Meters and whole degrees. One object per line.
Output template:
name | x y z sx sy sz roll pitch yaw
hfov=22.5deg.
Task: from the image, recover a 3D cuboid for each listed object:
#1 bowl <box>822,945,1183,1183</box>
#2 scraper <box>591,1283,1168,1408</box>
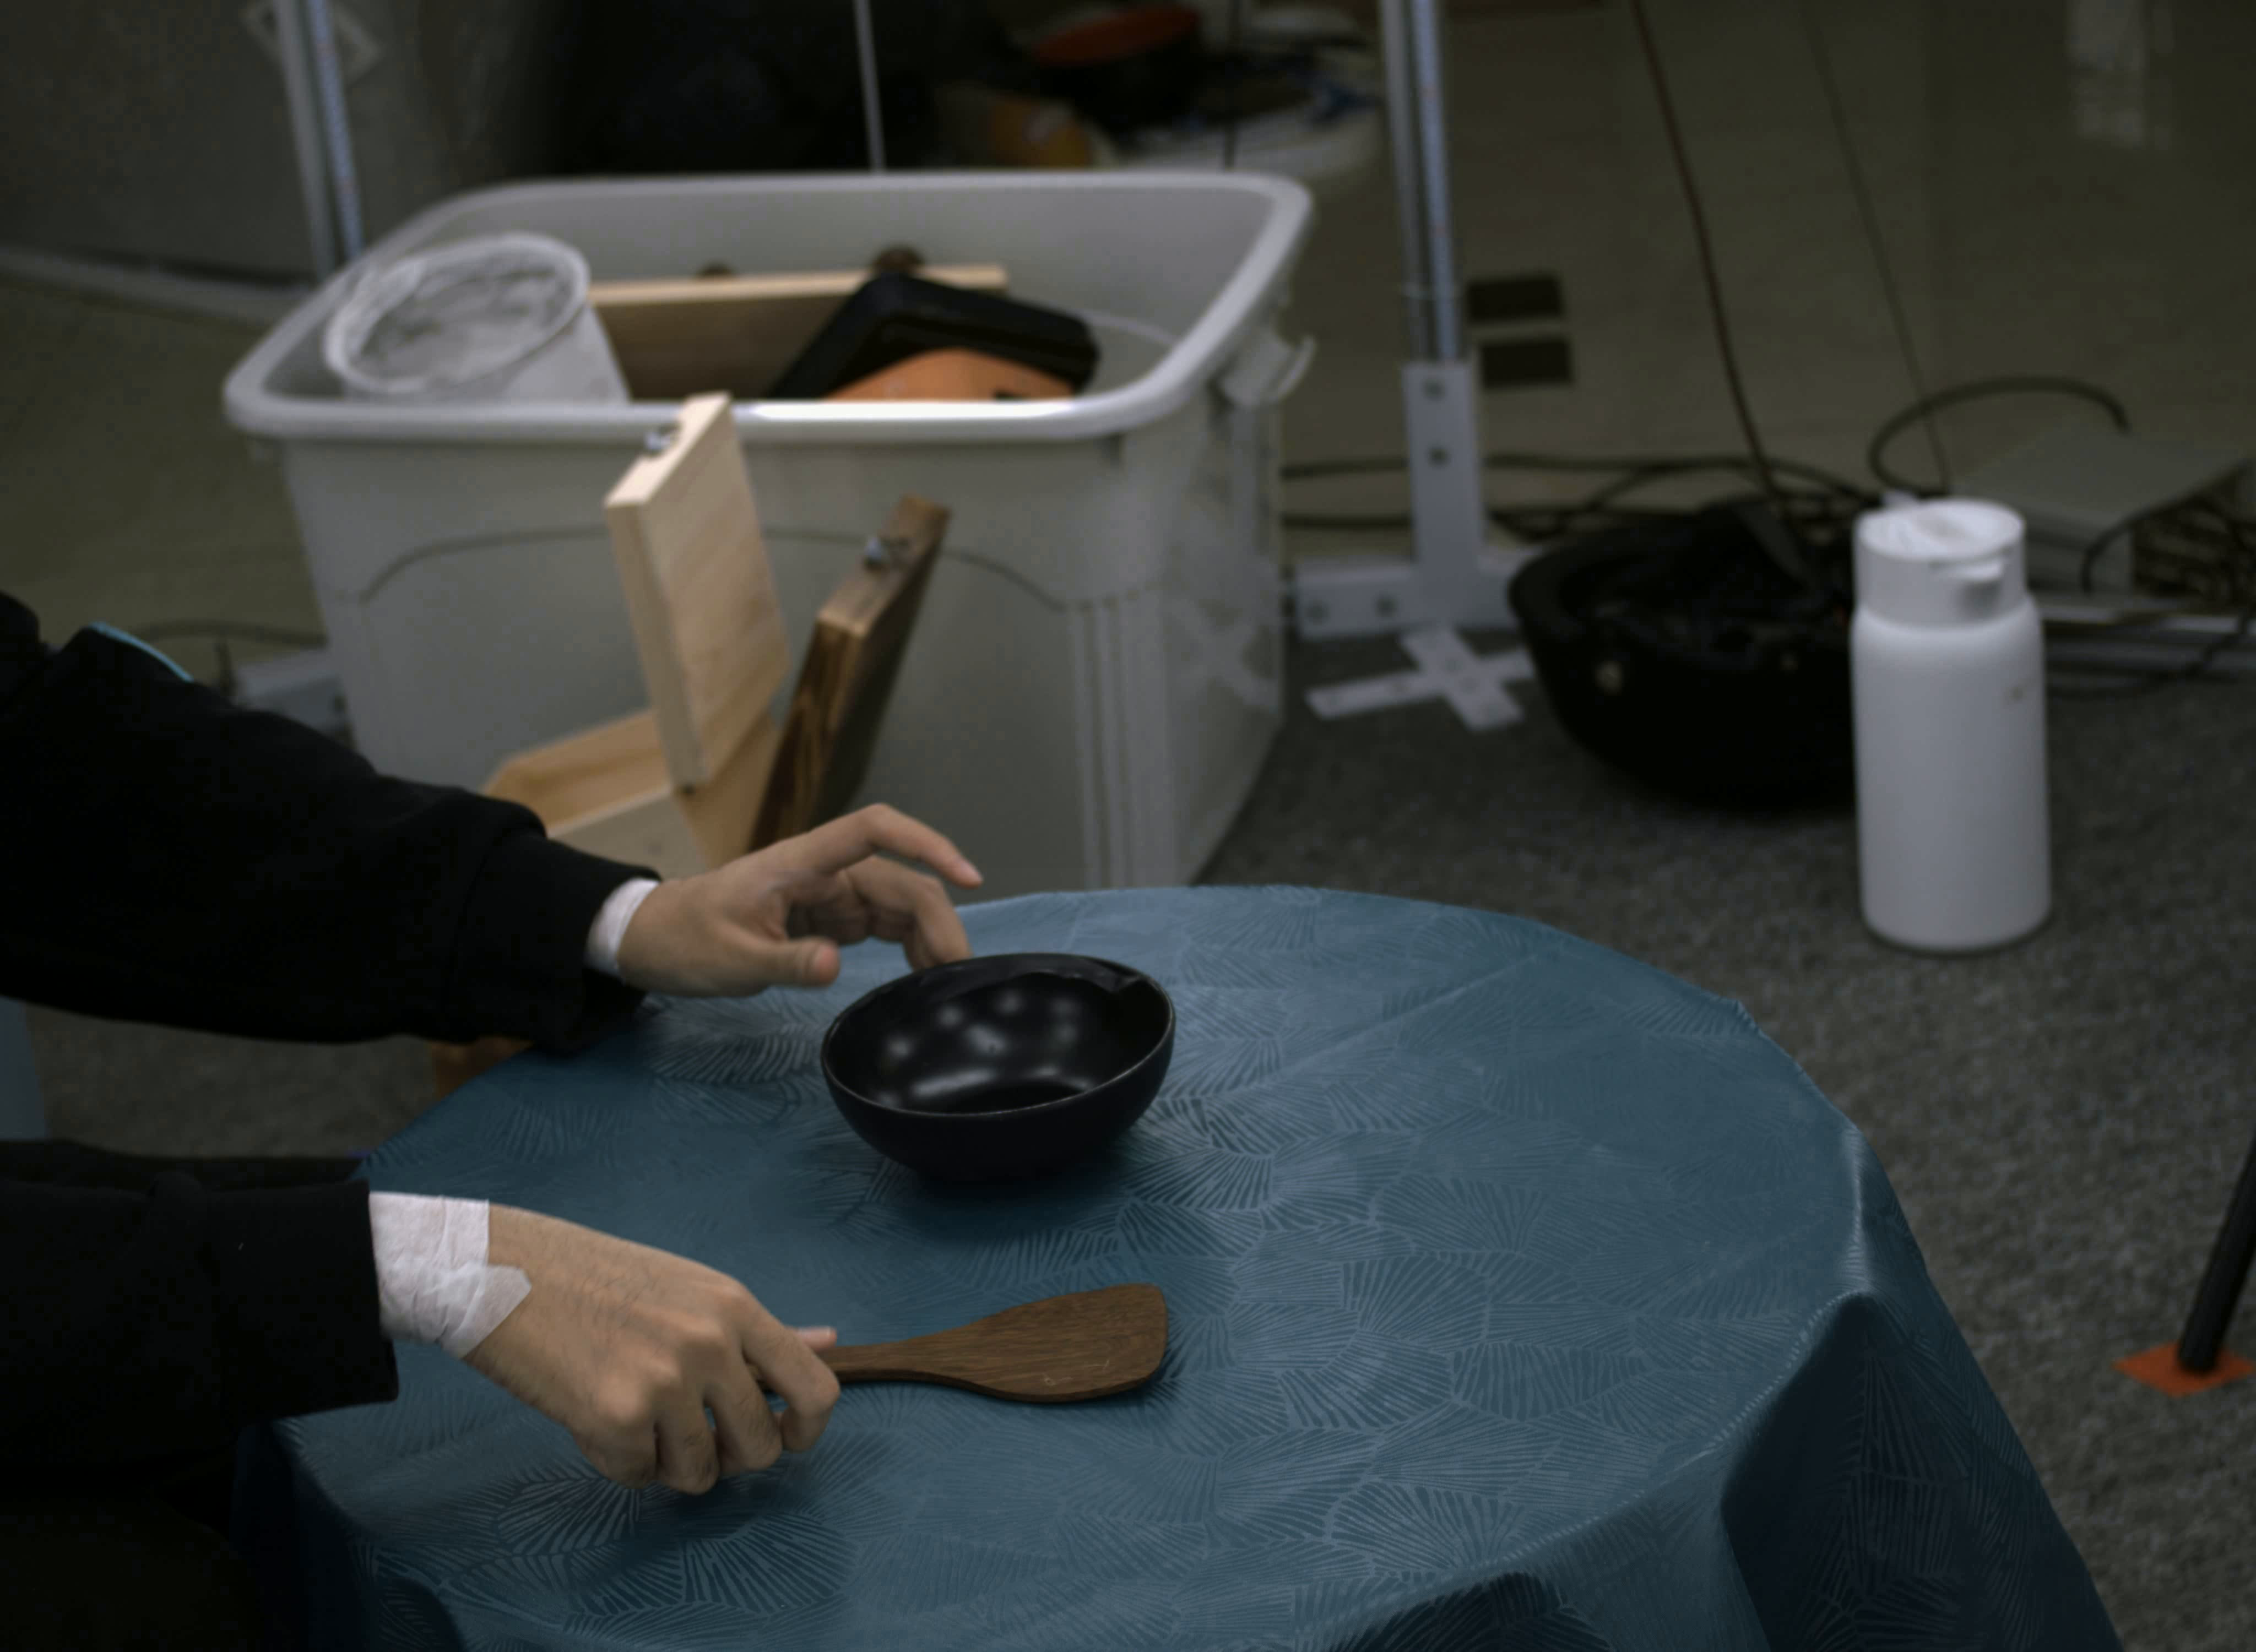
bowl | -0.048 0.099 2.188 0.140 0.050 0.138 -2 28 1
scraper | -0.090 0.194 2.048 0.211 0.011 0.075 -5 23 4
